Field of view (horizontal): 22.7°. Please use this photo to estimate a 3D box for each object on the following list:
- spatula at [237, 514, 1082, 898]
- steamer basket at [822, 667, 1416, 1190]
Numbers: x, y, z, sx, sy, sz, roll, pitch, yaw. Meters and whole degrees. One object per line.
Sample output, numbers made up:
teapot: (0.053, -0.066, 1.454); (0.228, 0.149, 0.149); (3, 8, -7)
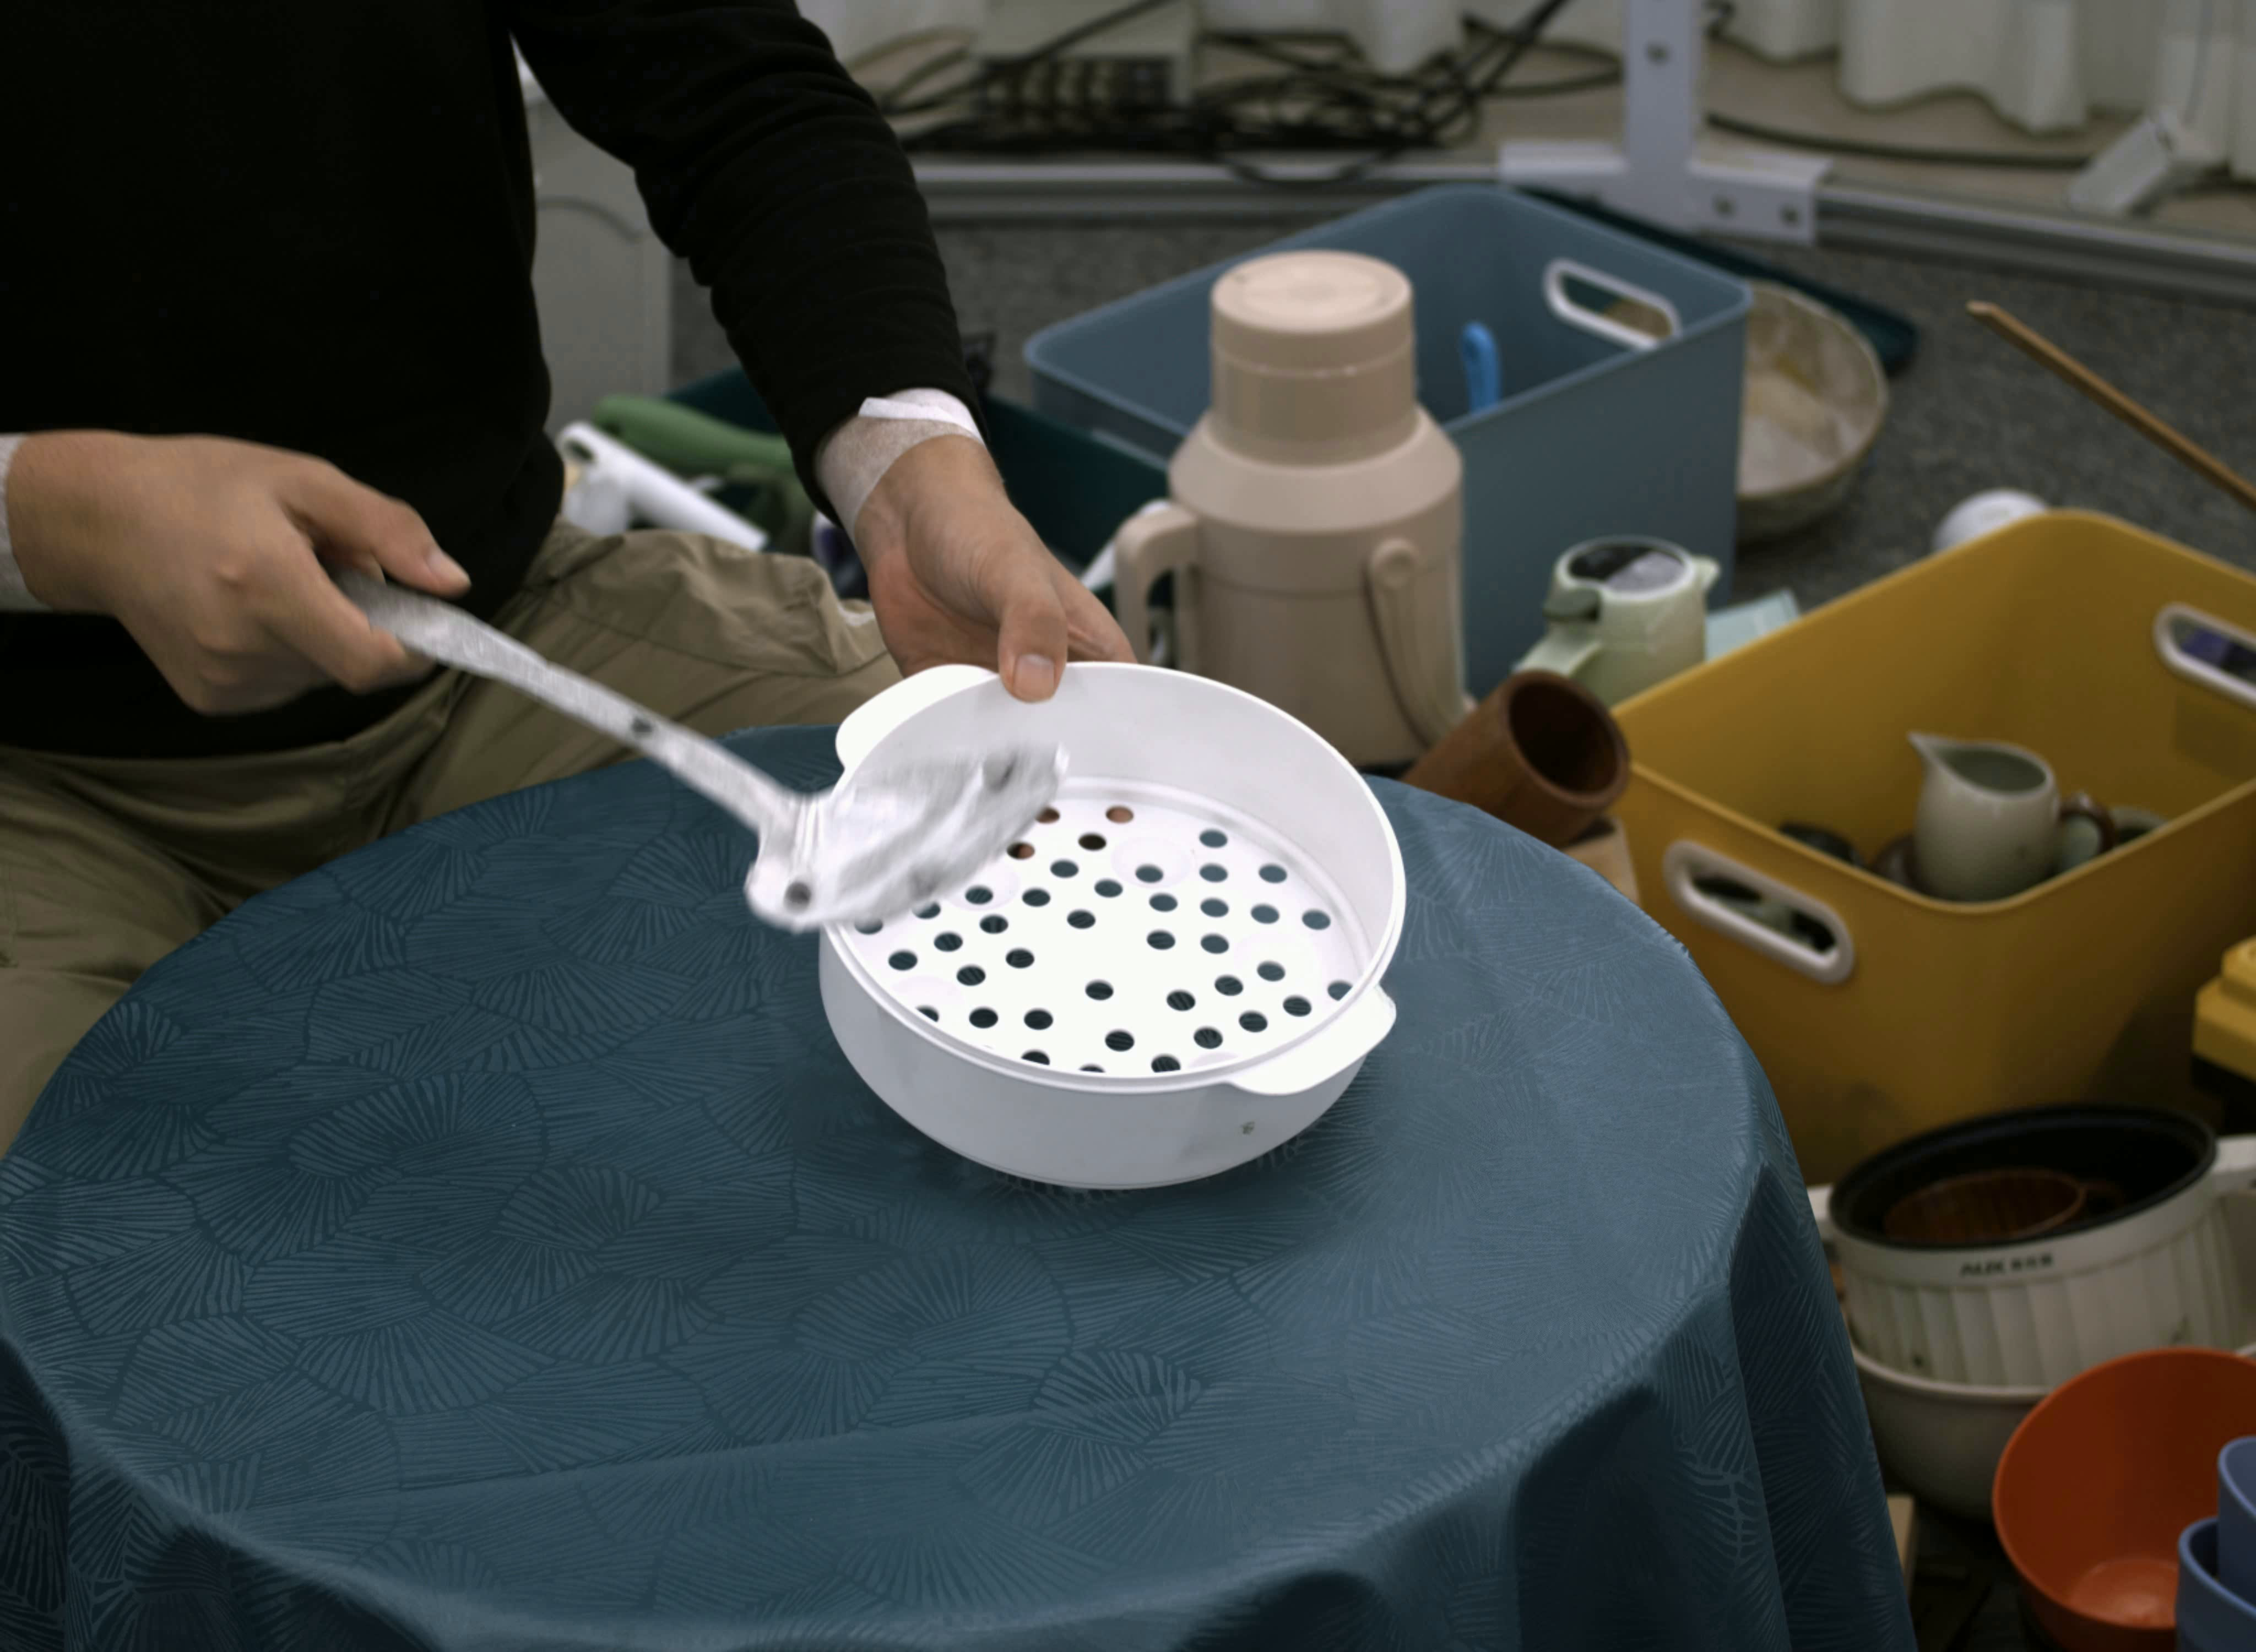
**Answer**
spatula: (-0.170, -0.051, 1.806); (0.364, 0.044, 0.100); (24, 51, 32)
steamer basket: (-0.005, 0.036, 1.903); (0.204, 0.068, 0.231); (-30, 54, -33)
